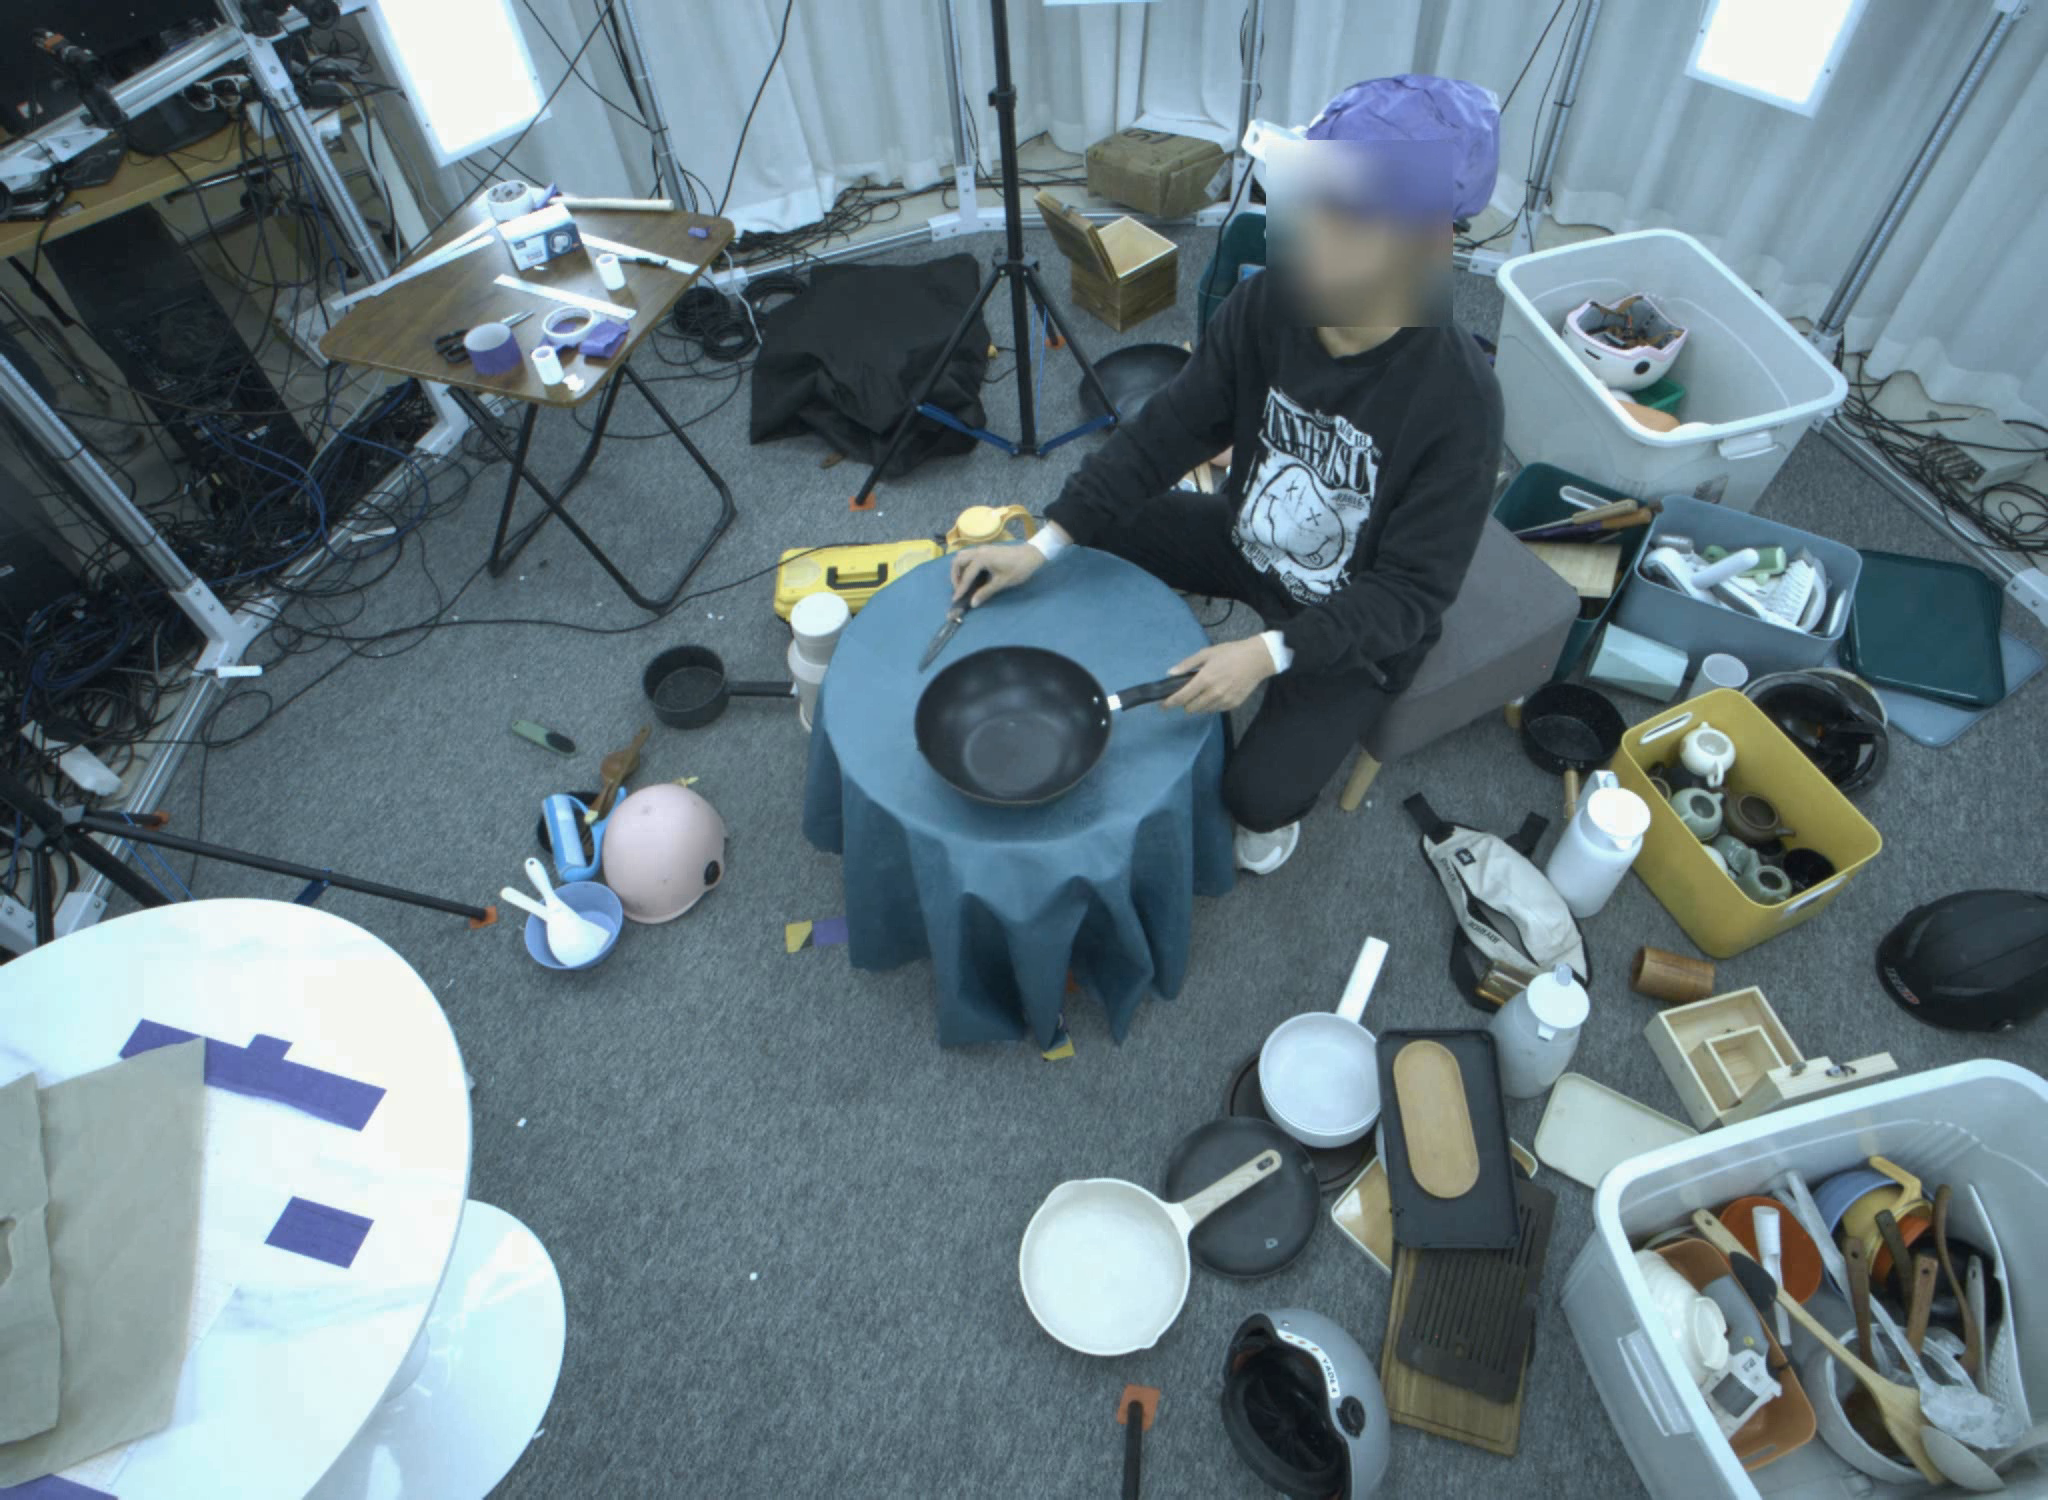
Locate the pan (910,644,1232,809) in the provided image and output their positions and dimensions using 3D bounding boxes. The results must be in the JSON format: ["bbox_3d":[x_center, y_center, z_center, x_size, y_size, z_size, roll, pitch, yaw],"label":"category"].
[{"bbox_3d":[0.069,-0.039,1.761,0.466,0.087,0.283,-12,55,-10],"label":"pan"}]

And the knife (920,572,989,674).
[{"bbox_3d":[-0.113,-0.201,1.925,0.026,0.017,0.226,33,58,-4],"label":"knife"}]
